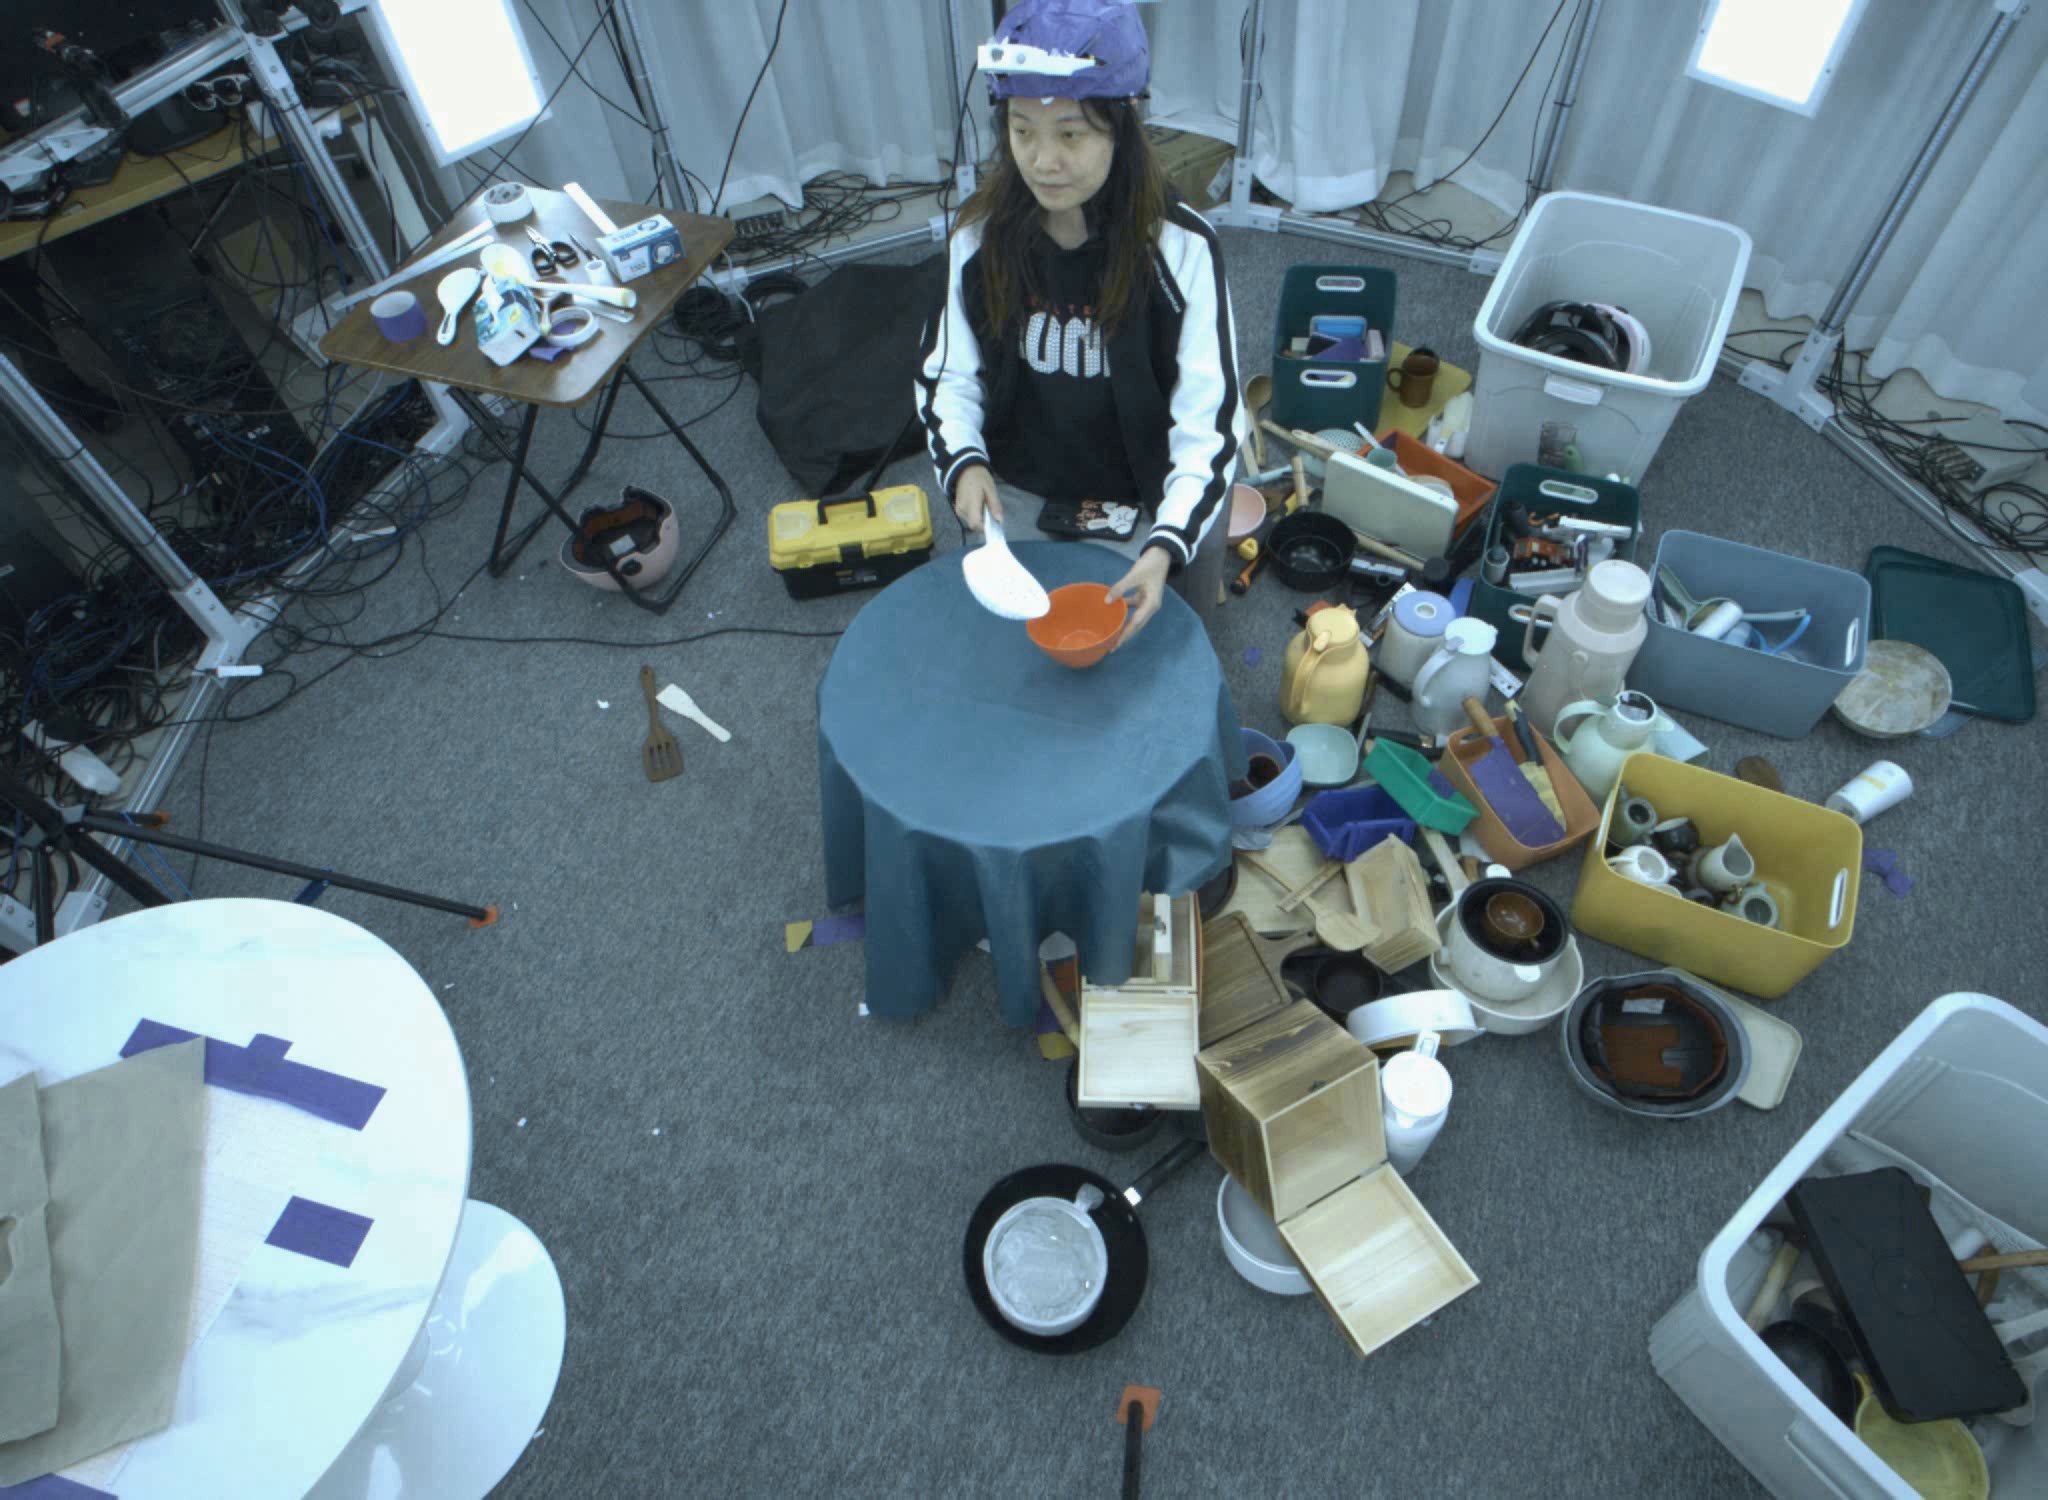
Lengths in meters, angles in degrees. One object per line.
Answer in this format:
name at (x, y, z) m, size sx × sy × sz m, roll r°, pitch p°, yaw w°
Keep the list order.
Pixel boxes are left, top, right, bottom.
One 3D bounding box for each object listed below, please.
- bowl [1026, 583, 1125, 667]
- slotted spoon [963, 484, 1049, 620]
bowl at (0.081, -0.170, 1.813) m, size 0.147 × 0.106 × 0.146 m, roll -5°, pitch 55°, yaw 8°
slotted spoon at (-0.040, -0.297, 1.787) m, size 0.138 × 0.045 × 0.345 m, roll 21°, pitch 40°, yaw -25°
